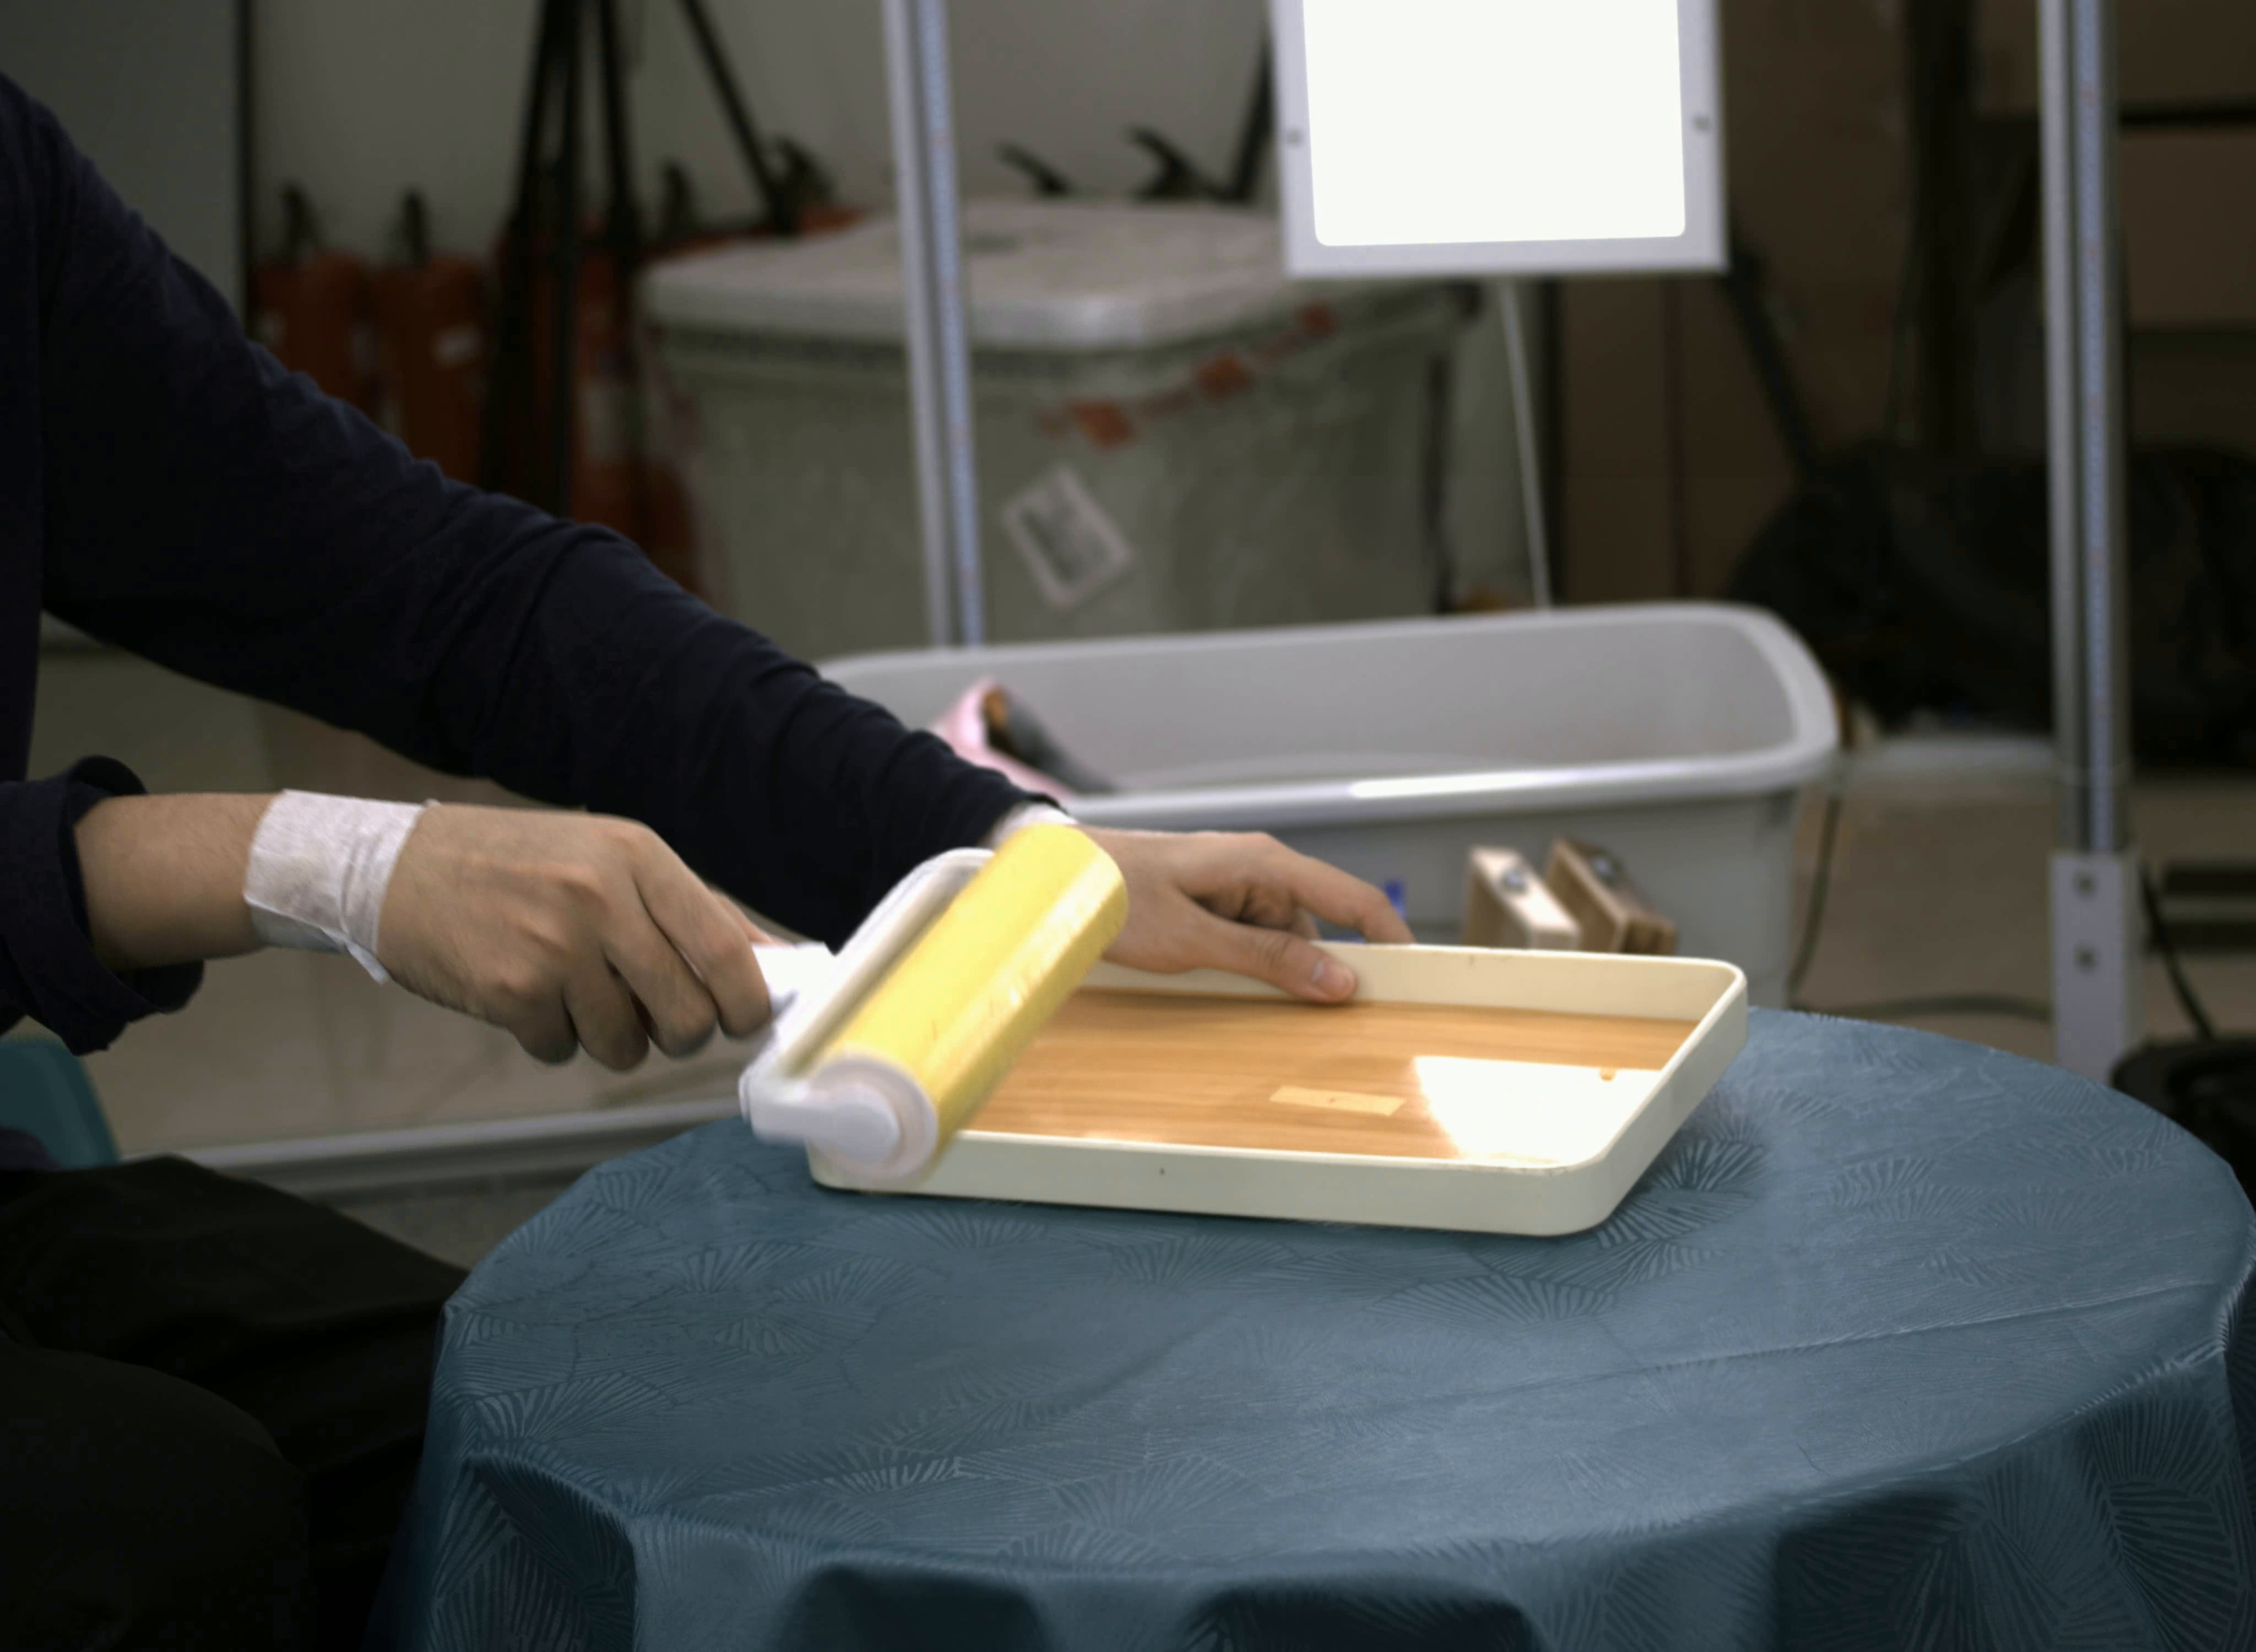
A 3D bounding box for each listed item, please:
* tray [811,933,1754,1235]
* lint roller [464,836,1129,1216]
[{"bbox_3d":[0.055,0.088,1.943,0.305,0.027,0.188,2,21,27],"label":"tray"},{"bbox_3d":[-0.115,0.044,1.697,0.194,0.052,0.171,14,32,15],"label":"lint roller"}]
